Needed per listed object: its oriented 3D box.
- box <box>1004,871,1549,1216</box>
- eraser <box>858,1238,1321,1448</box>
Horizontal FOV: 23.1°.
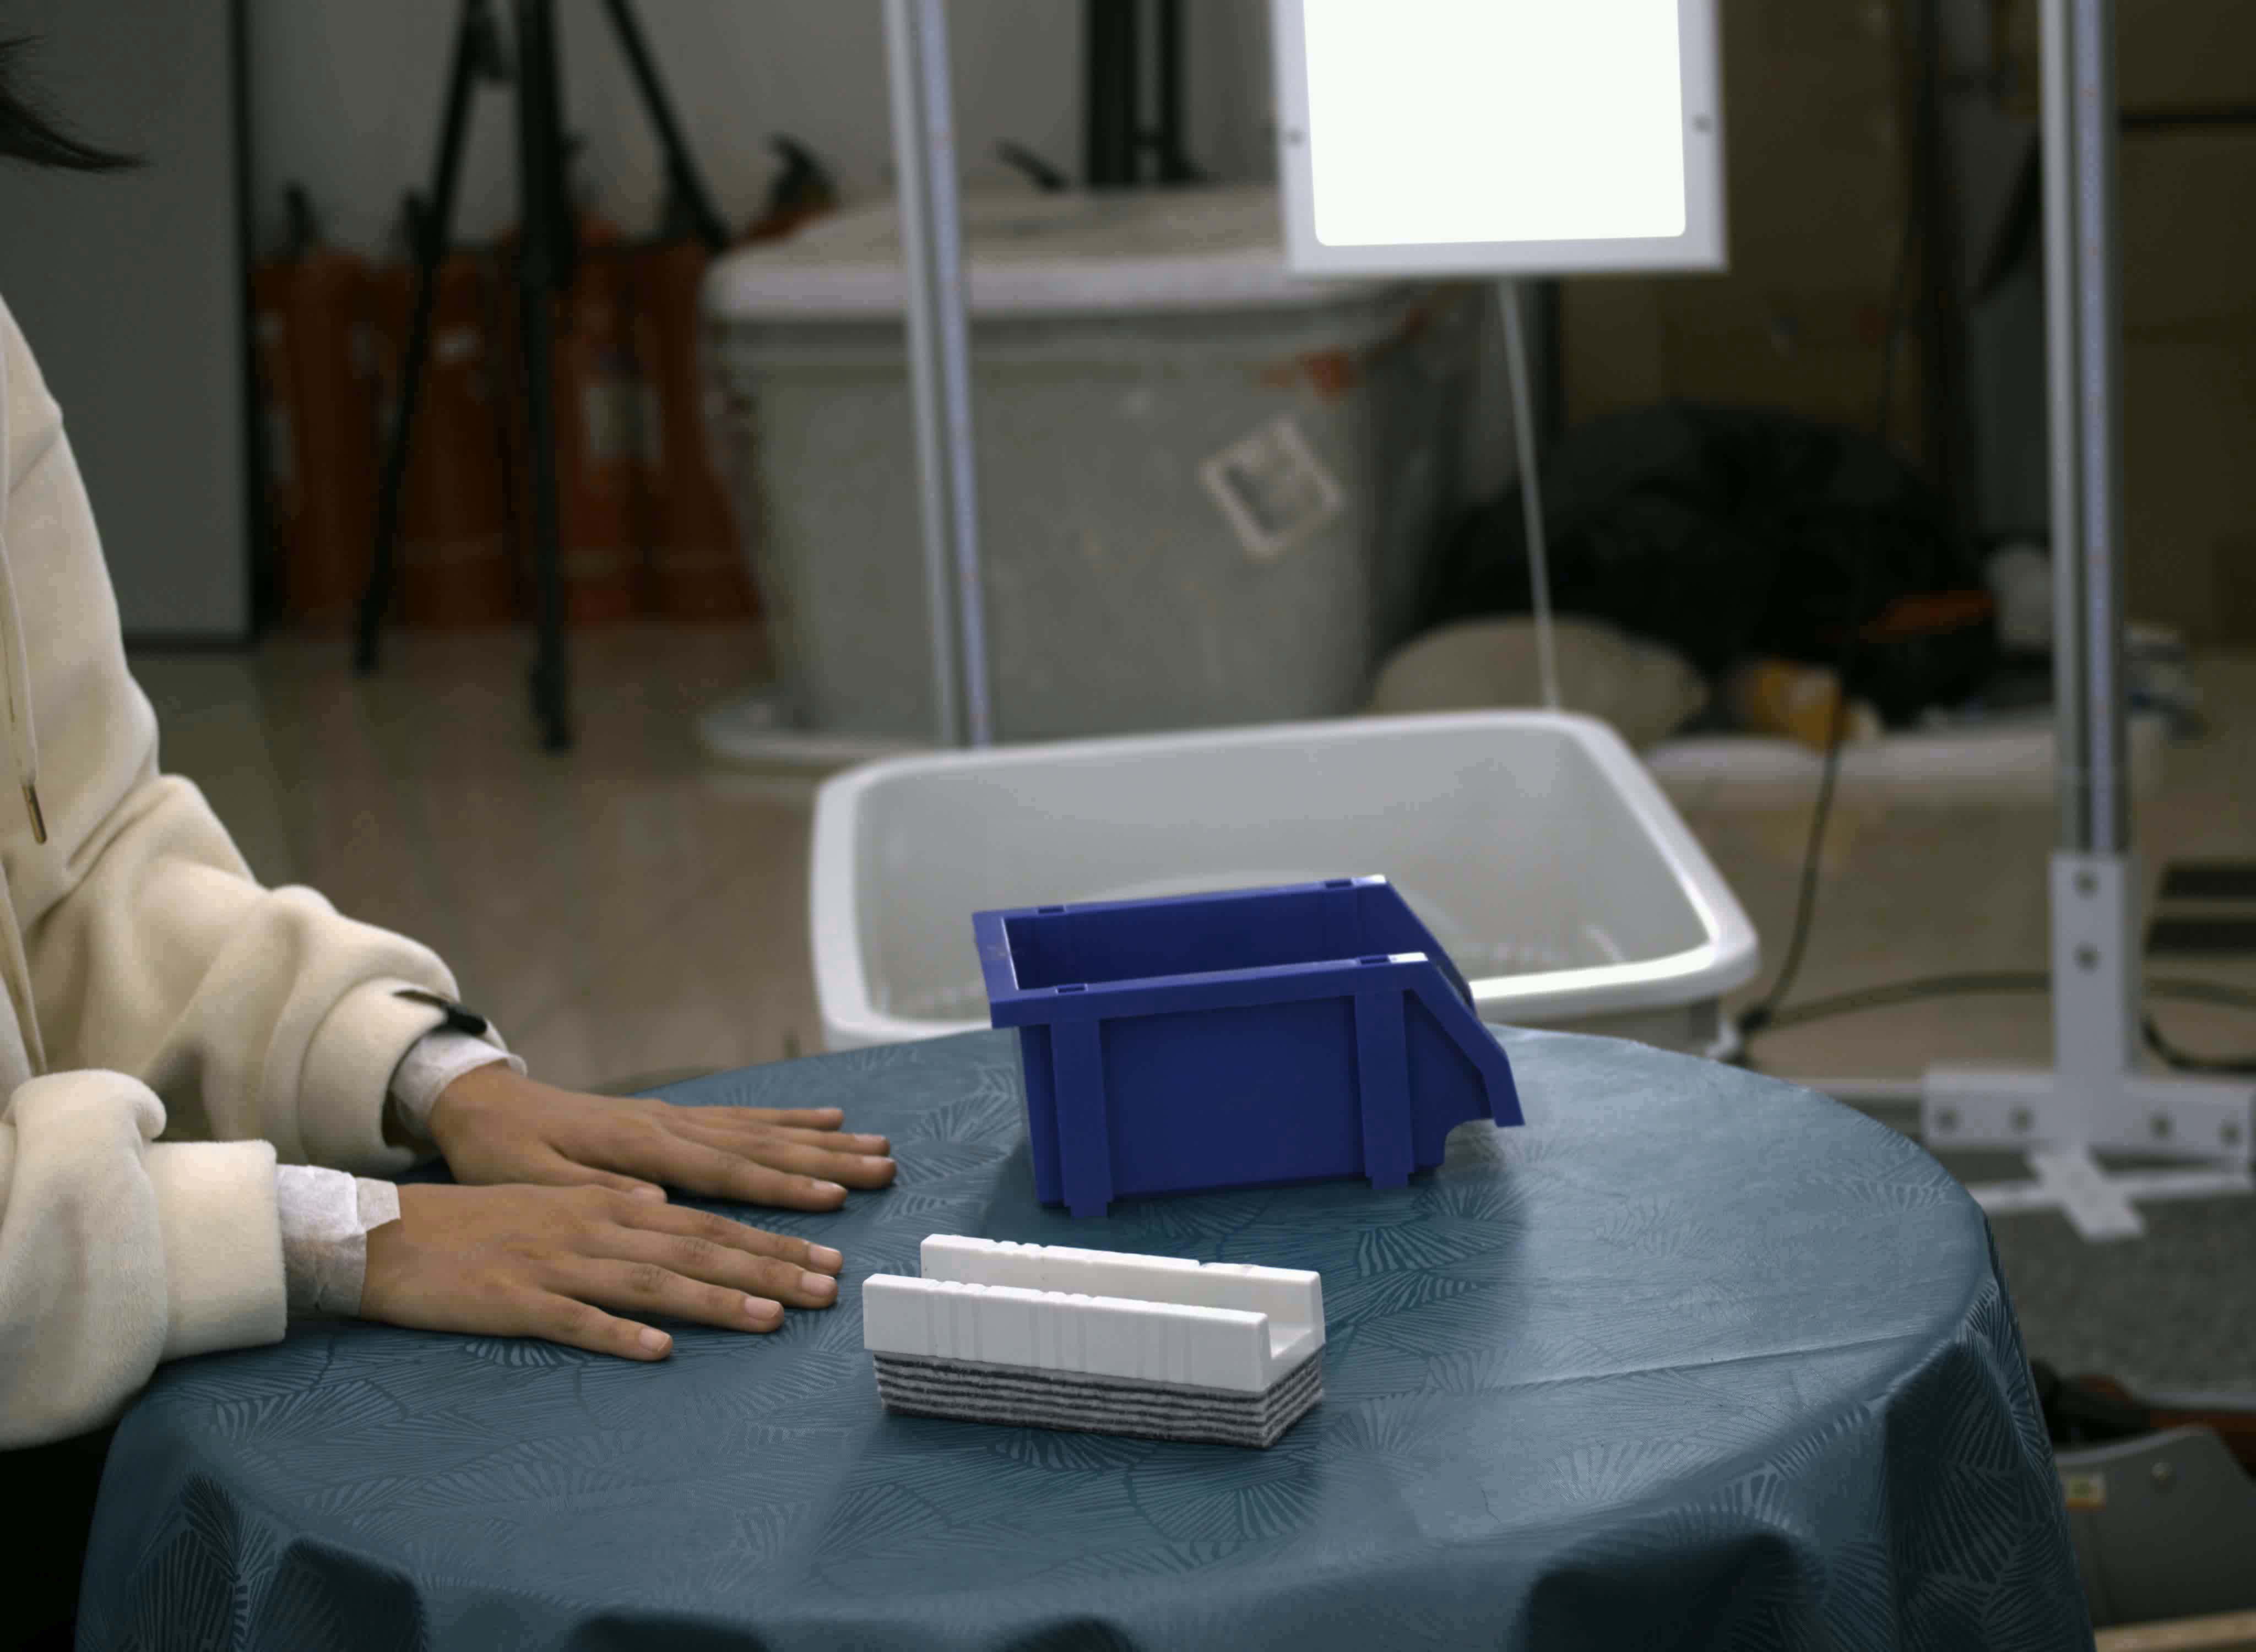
[{"bbox_3d":[0.051,0.073,1.925,0.179,0.082,0.124,-7,14,1],"label":"box"},{"bbox_3d":[-0.011,0.157,1.680,0.136,0.047,0.049,3,18,25],"label":"eraser"}]
